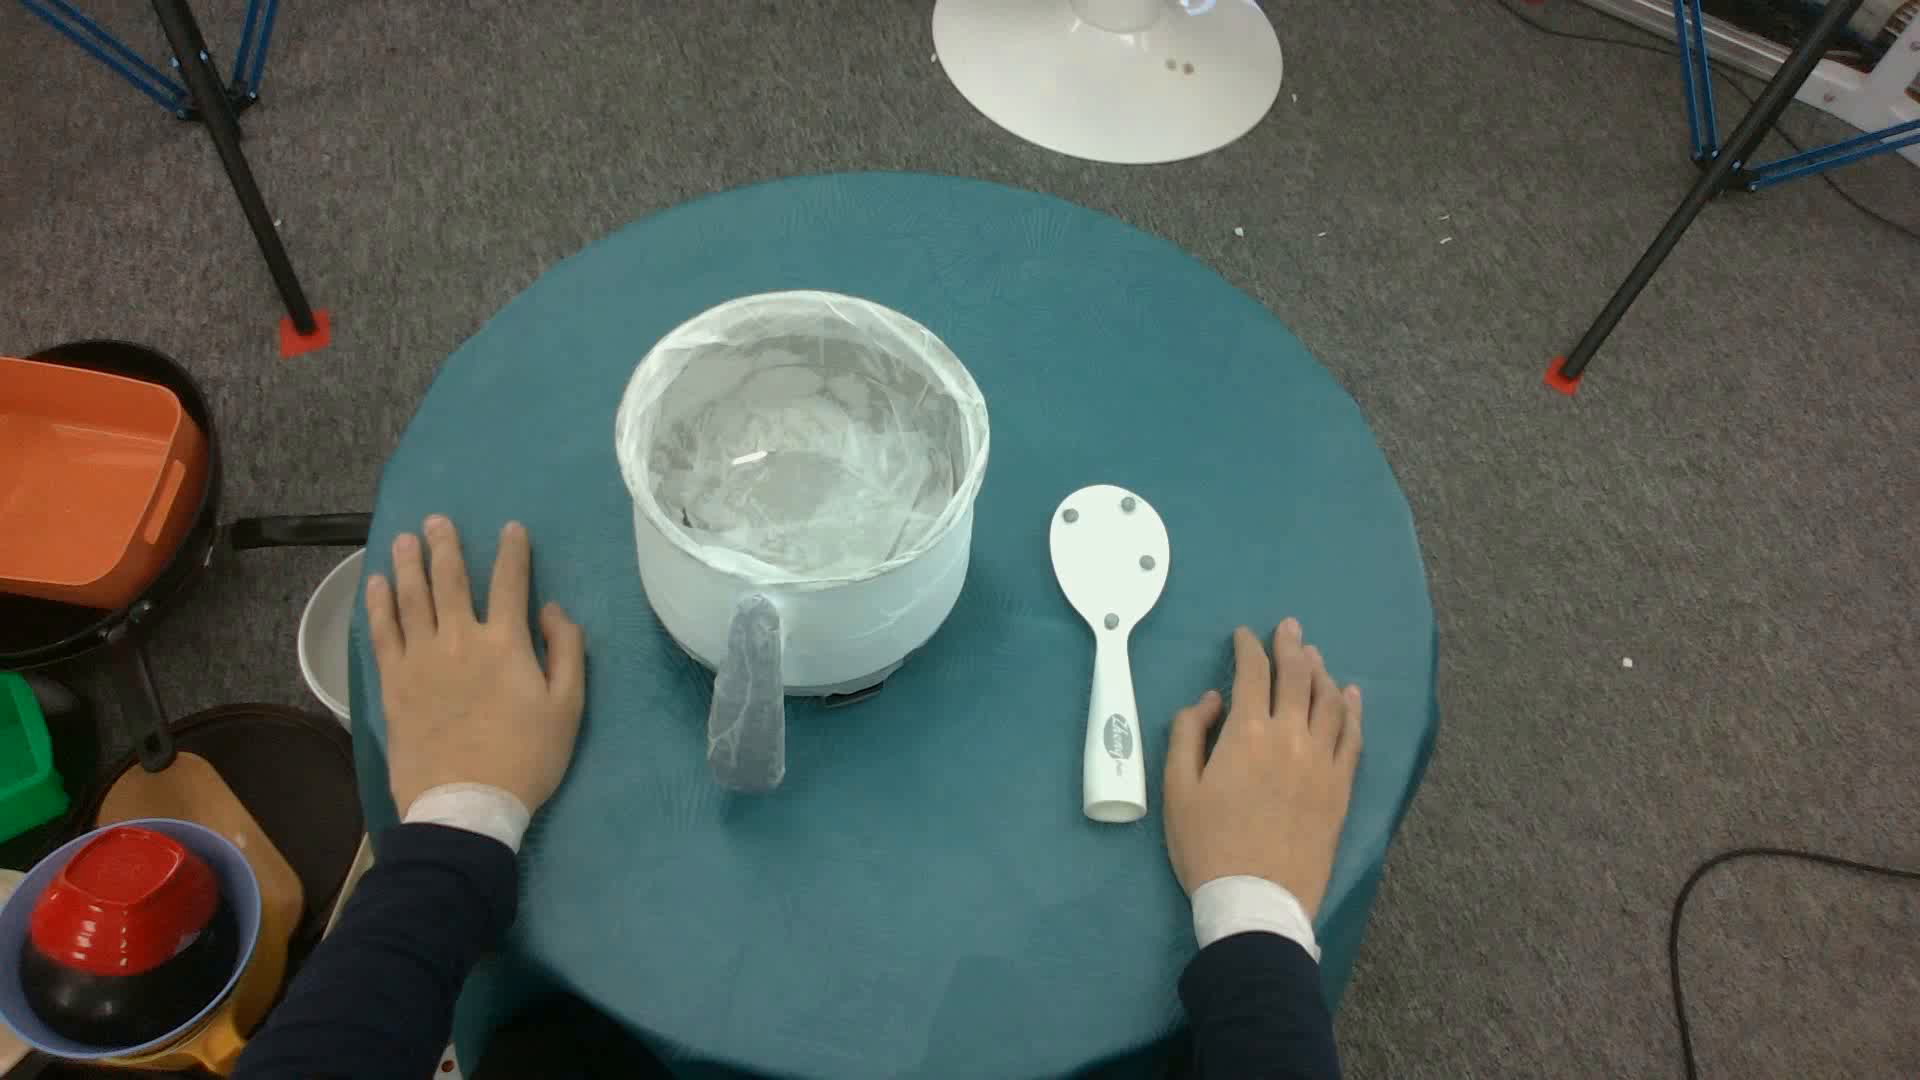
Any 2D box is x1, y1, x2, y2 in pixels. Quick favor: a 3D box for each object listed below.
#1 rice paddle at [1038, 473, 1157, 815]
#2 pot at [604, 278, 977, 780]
[{"bbox_3d":[0.076,0.046,0.746,0.069,0.029,0.206,6,58,-6],"label":"rice paddle"},{"bbox_3d":[-0.088,-0.003,0.696,0.179,0.136,0.235,9,58,0],"label":"pot"}]
